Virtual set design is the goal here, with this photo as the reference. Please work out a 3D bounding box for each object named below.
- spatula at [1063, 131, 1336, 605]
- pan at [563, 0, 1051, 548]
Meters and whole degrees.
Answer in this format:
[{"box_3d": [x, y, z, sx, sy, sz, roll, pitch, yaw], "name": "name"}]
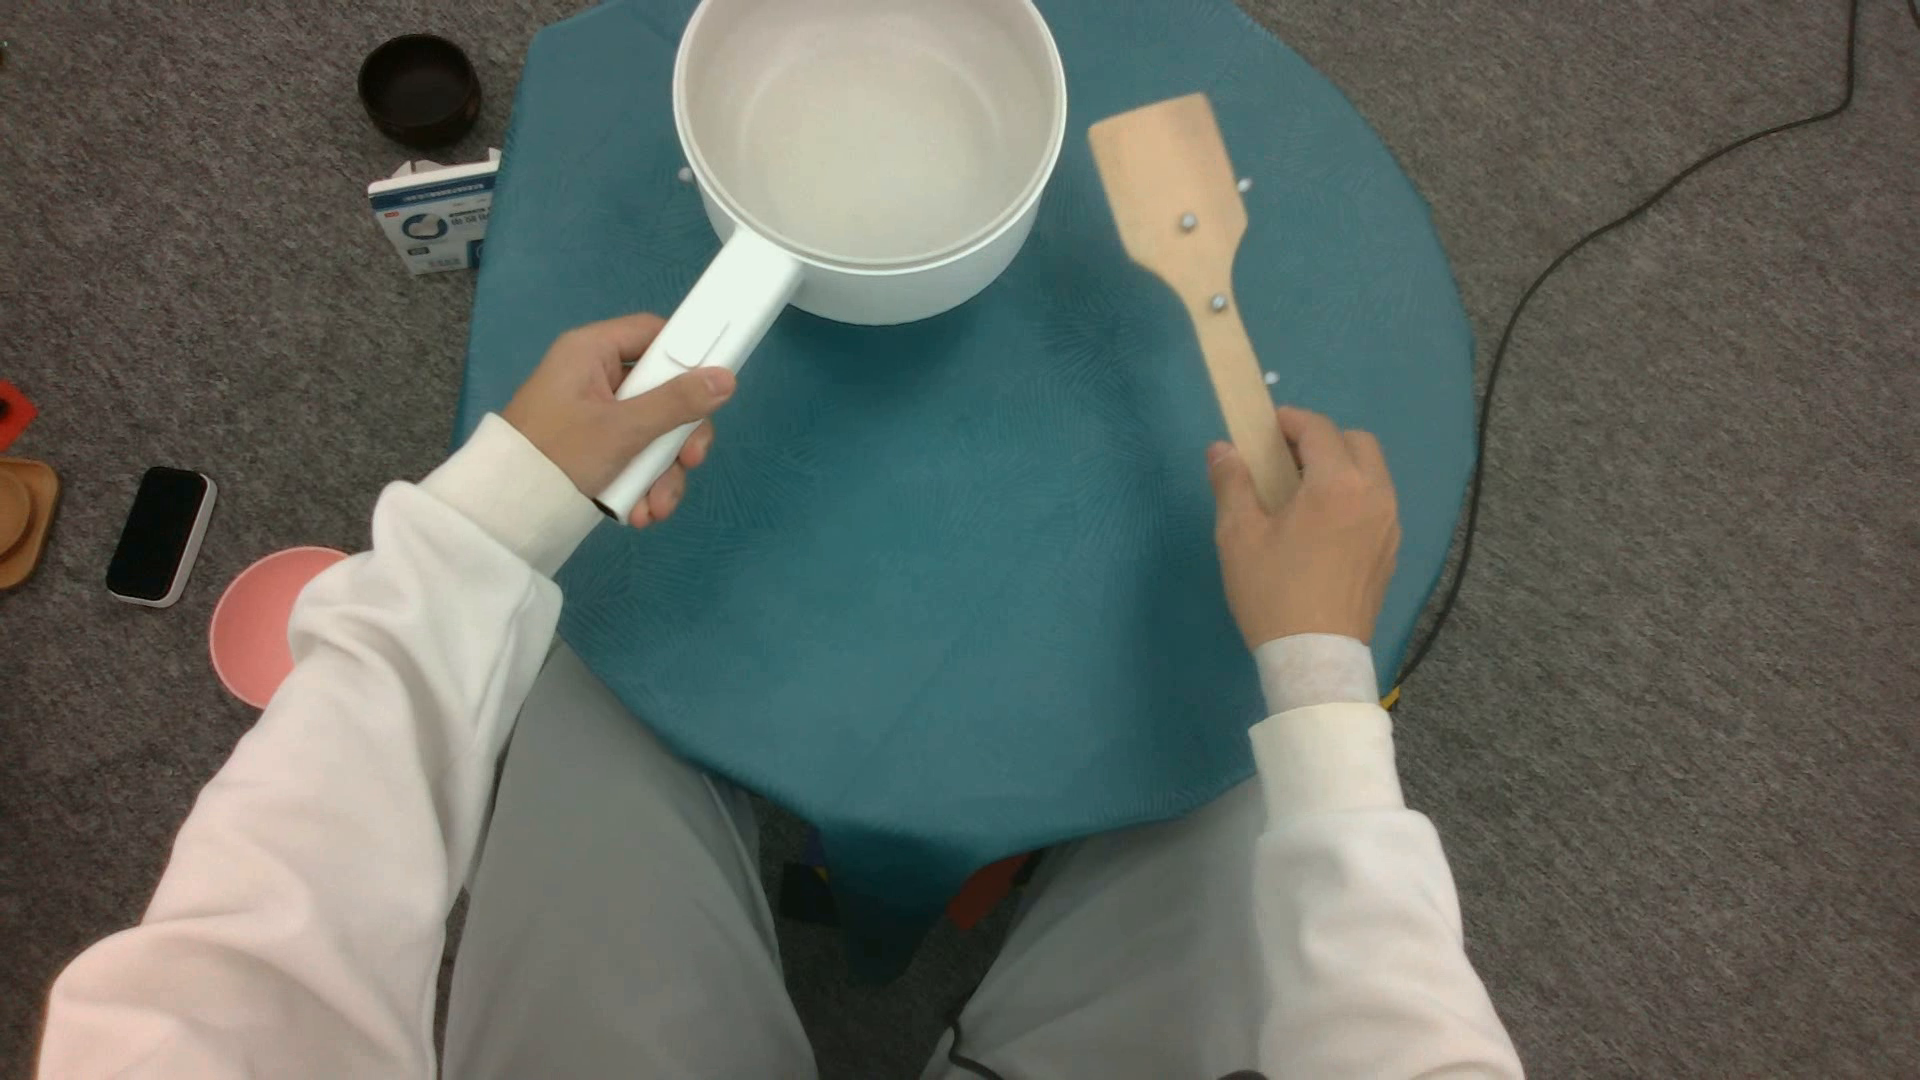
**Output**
[{"box_3d": [0.139, -0.099, 0.761, 0.072, 0.010, 0.293, -19, 72, -2], "name": "spatula"}, {"box_3d": [-0.091, -0.146, 0.752, 0.201, 0.102, 0.355, 29, 76, 4], "name": "pan"}]
